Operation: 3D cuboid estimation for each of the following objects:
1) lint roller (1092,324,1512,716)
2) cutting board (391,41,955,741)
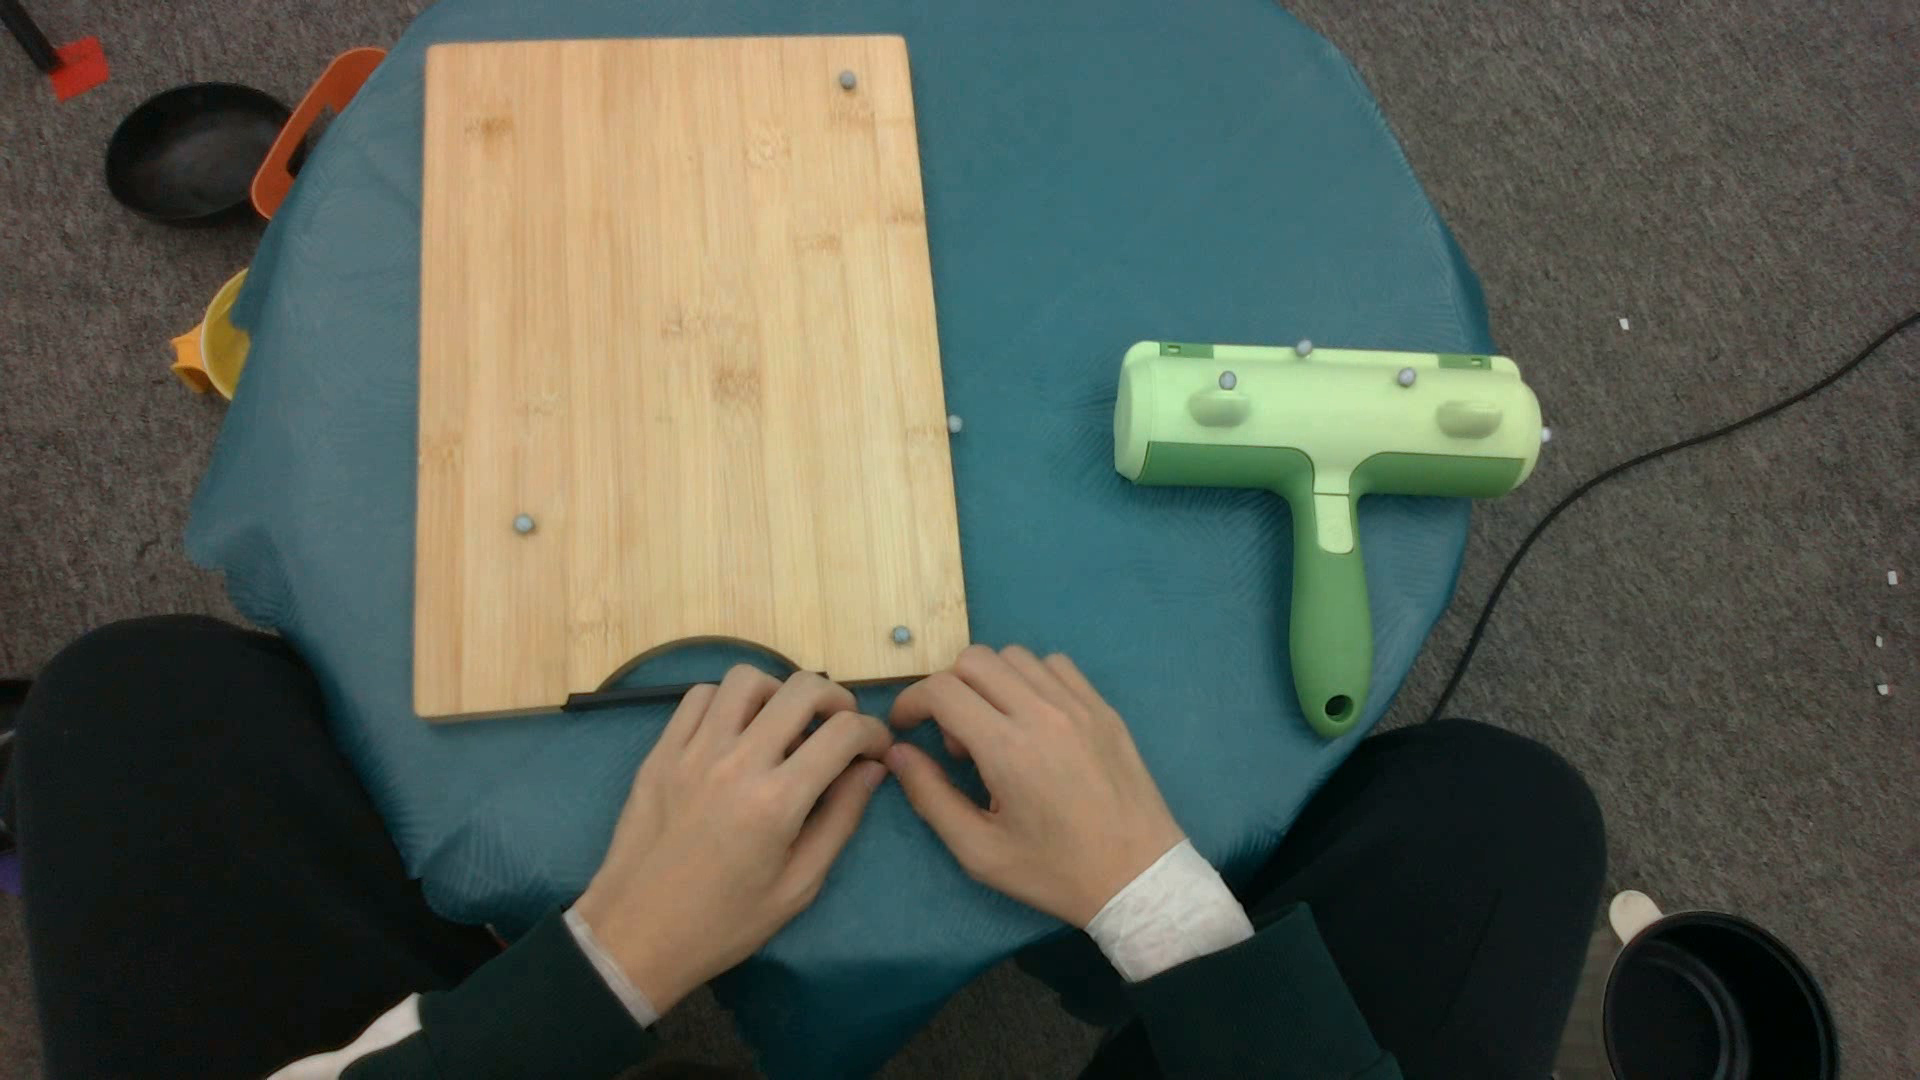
[{"bbox_3d":[0.165,-0.016,0.636,0.199,0.082,0.184,1,67,-6],"label":"lint roller"},{"bbox_3d":[-0.143,-0.089,0.658,0.251,0.023,0.349,-6,72,-8],"label":"cutting board"}]
